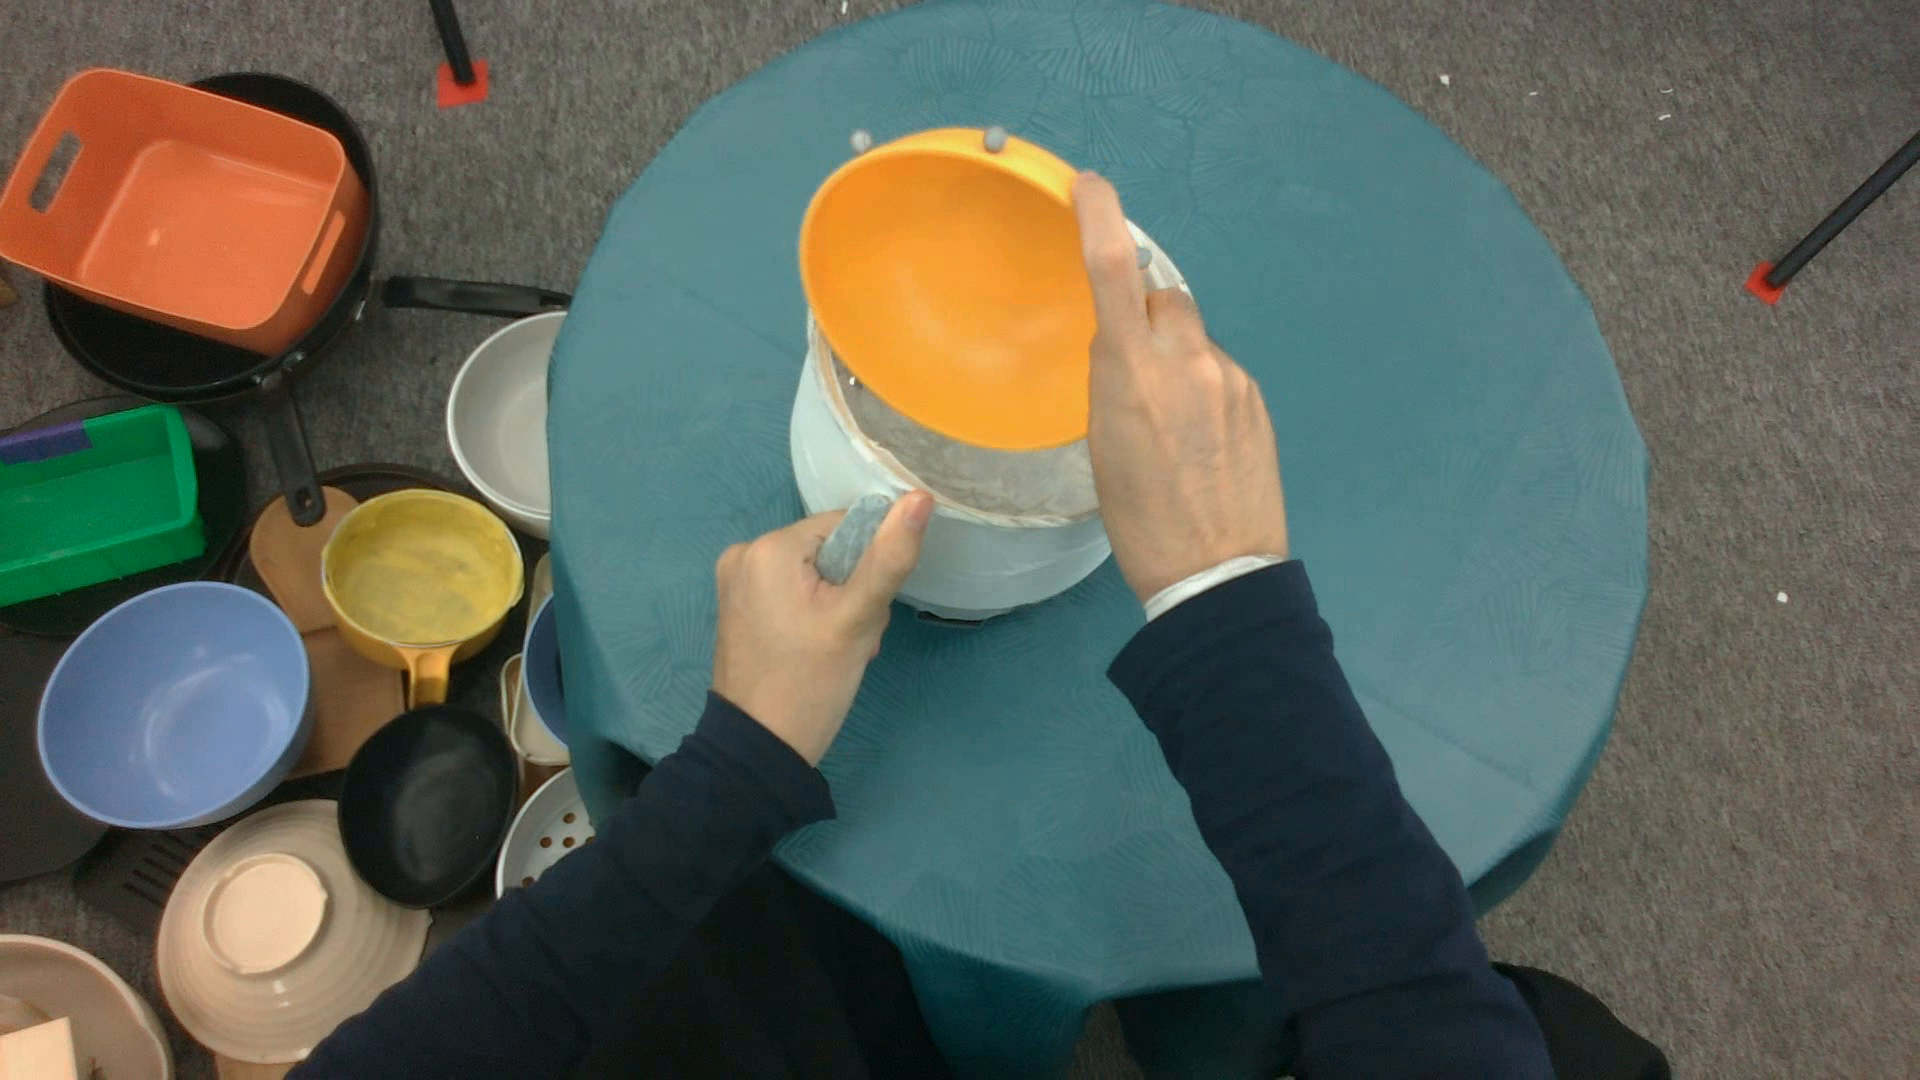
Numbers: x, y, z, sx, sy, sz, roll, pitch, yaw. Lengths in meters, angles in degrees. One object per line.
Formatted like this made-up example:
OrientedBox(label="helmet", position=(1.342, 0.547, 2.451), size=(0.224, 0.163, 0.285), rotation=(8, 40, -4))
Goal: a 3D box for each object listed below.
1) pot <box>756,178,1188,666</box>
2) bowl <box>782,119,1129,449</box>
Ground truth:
OrientedBox(label="pot", position=(-0.012, -0.050, 0.635), size=(0.179, 0.136, 0.234), rotation=(32, 64, 5))
OrientedBox(label="bowl", position=(0.006, -0.111, 0.551), size=(0.145, 0.144, 0.060), rotation=(26, 49, 4))
